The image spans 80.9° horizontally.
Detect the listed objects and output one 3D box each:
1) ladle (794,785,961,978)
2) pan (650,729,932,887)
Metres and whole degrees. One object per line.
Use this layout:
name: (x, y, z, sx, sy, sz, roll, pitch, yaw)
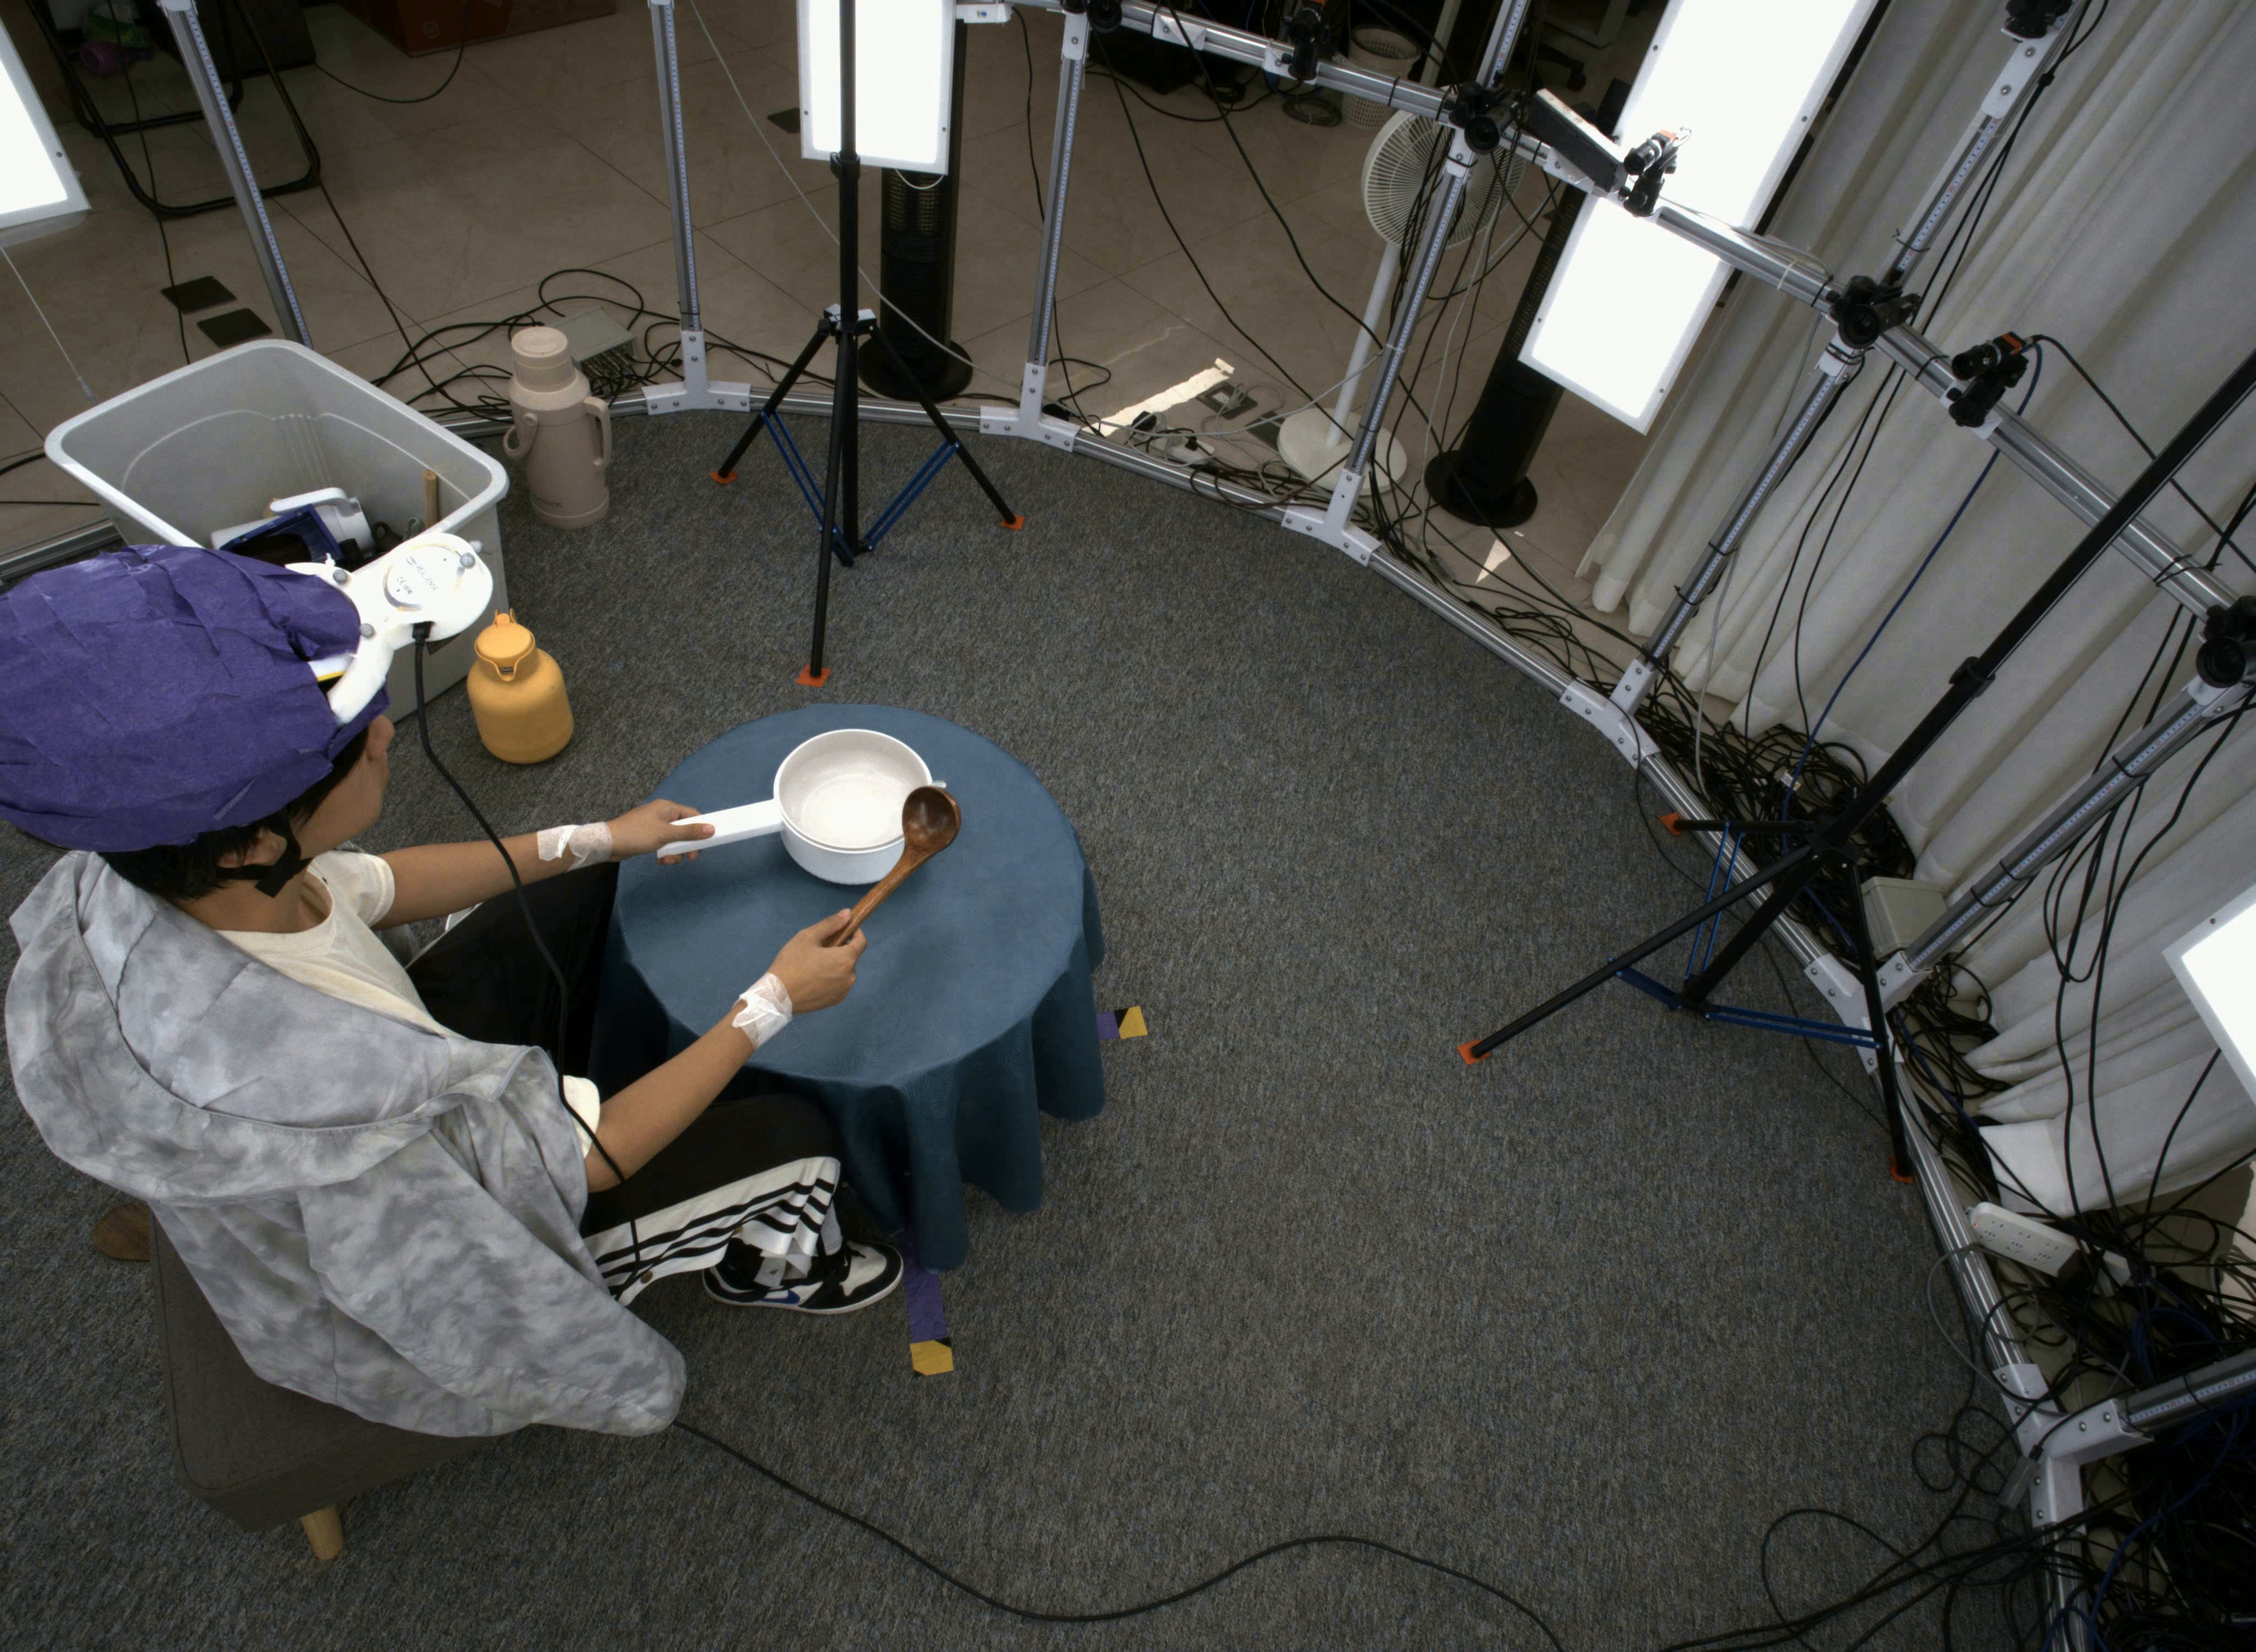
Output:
ladle: (-0.293, 0.056, 1.502, 0.079, 0.079, 0.273, 18, 49, 31)
pan: (-0.426, -0.001, 1.664, 0.356, 0.104, 0.196, -15, 59, -22)
